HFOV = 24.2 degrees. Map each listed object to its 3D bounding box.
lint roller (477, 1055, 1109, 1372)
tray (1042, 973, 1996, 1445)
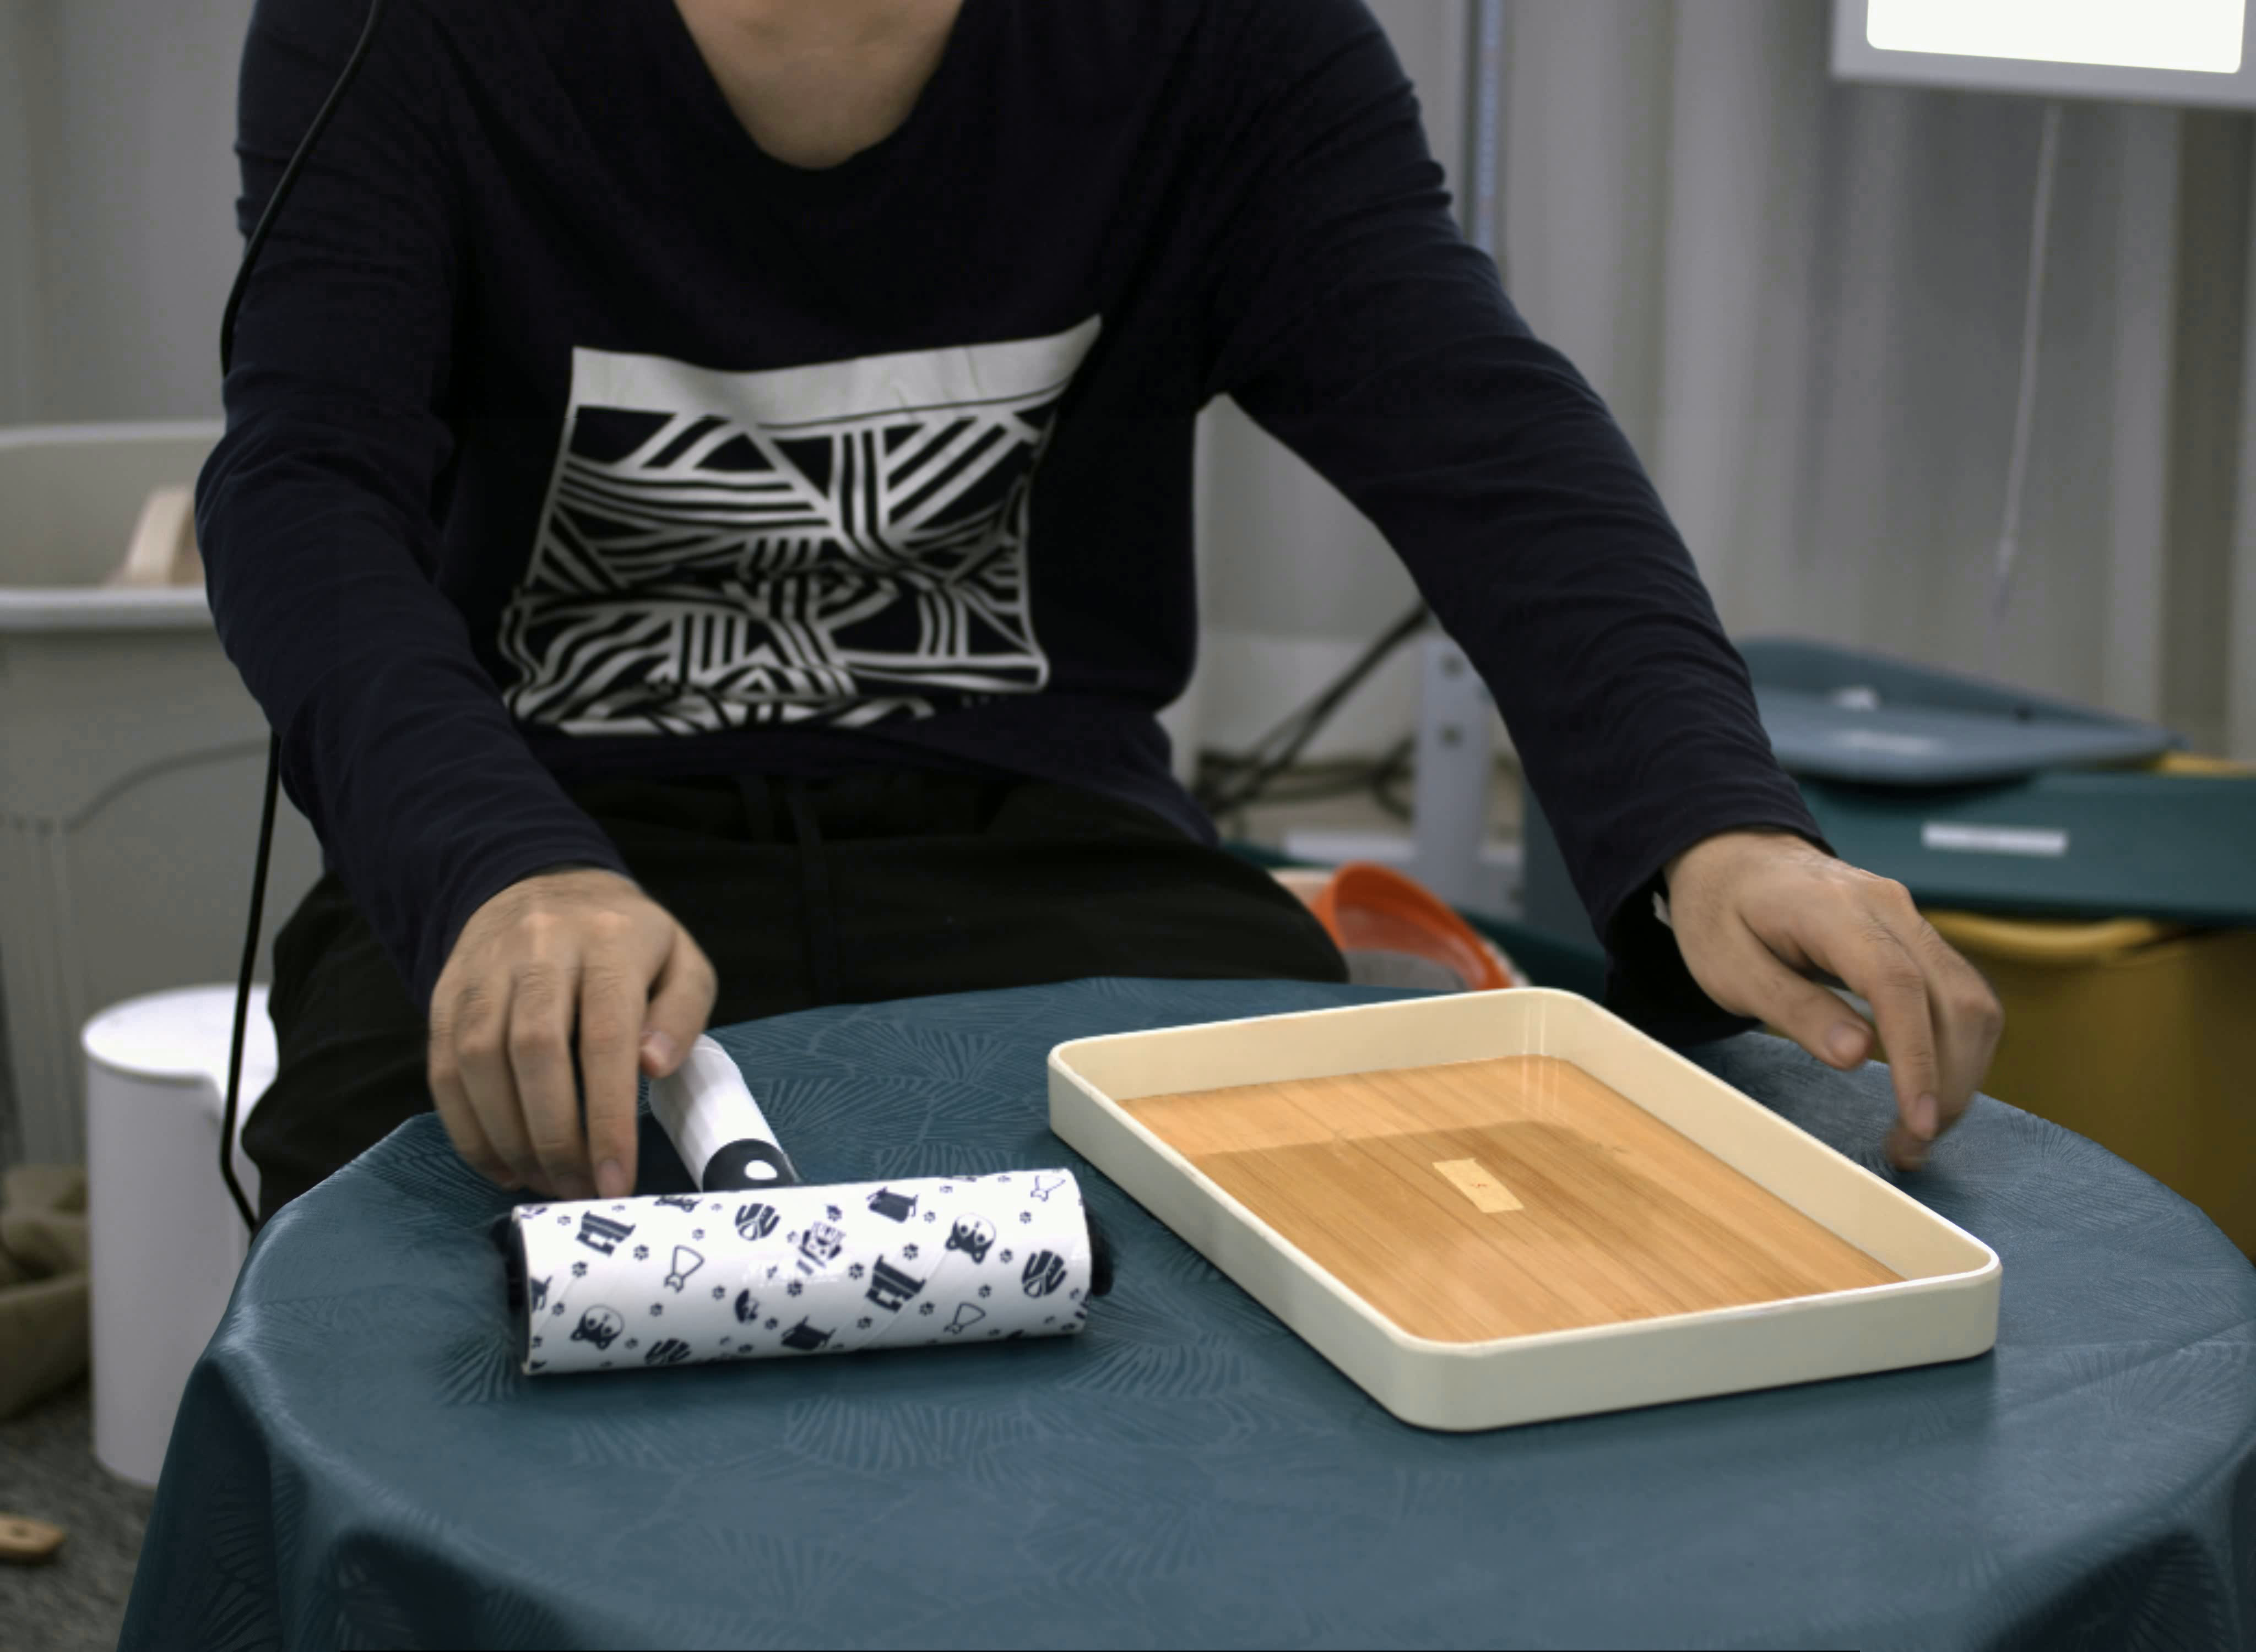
[{"bbox_3d":[-0.118,0.102,1.579,0.176,0.051,0.245,-4,14,-14],"label":"lint roller"},{"bbox_3d":[0.110,0.109,1.588,0.192,0.027,0.297,-8,18,-20],"label":"tray"}]
